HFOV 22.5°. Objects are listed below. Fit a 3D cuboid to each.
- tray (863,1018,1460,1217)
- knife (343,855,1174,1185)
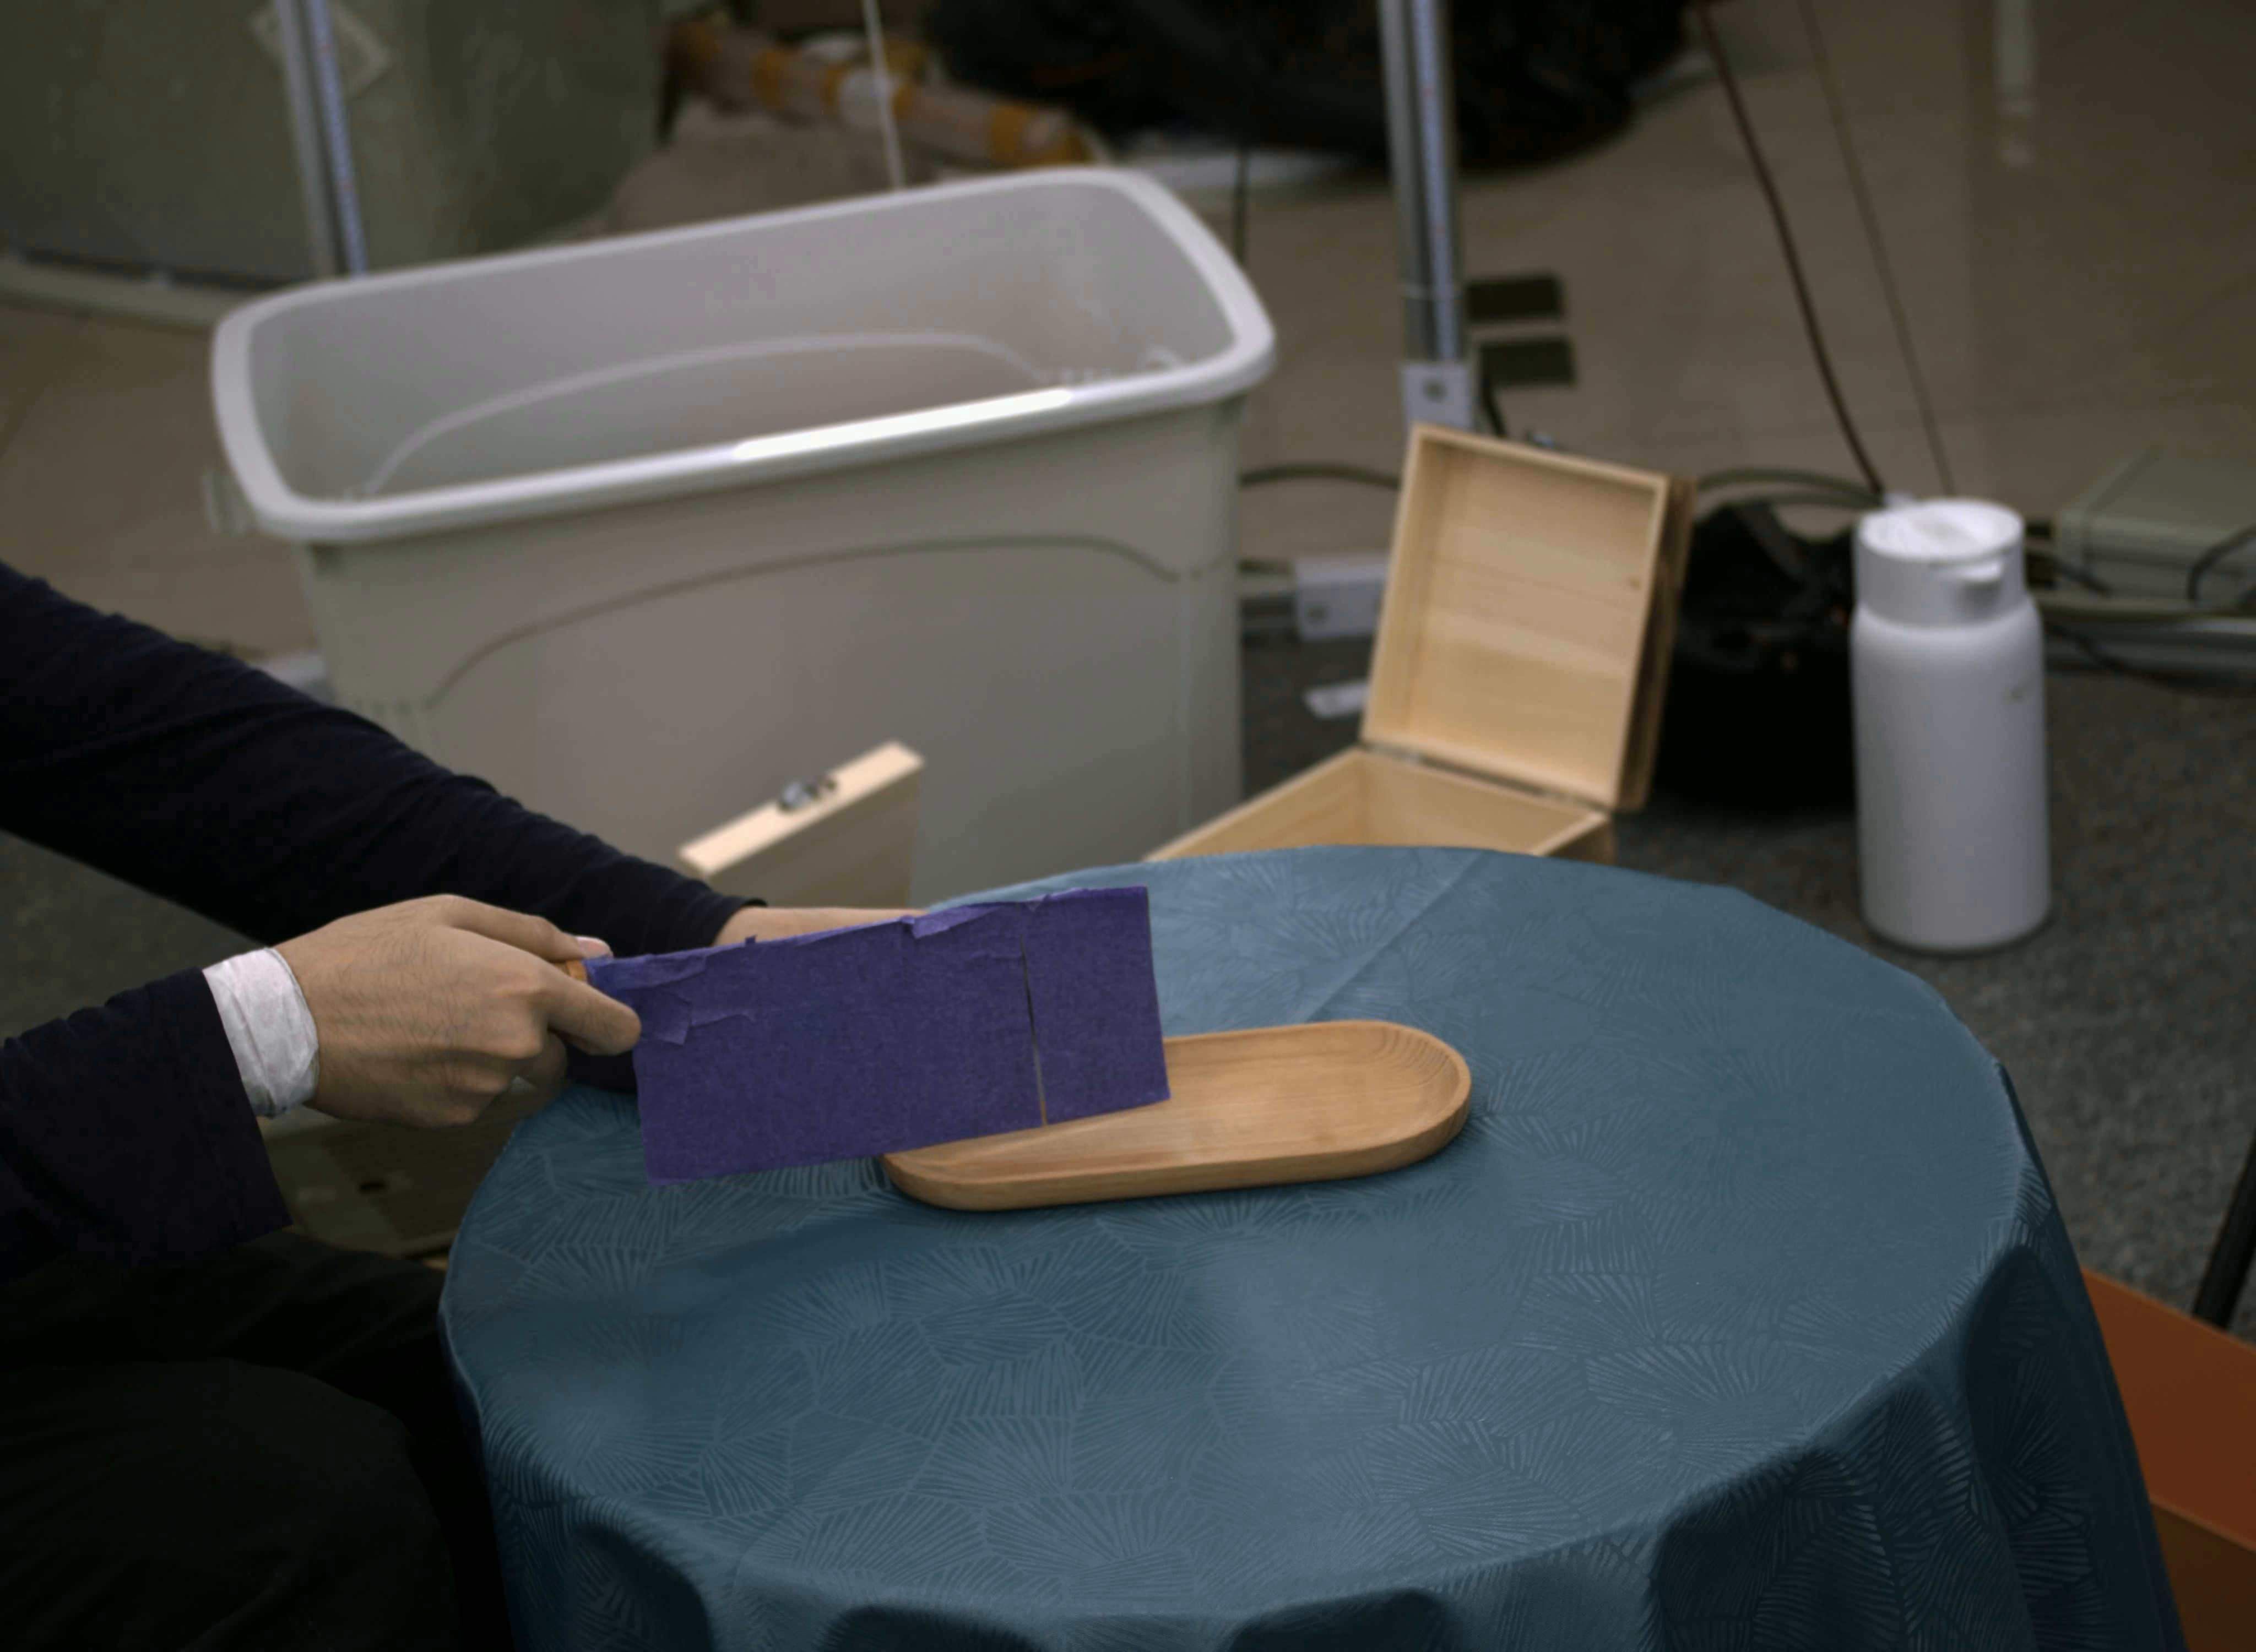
[{"bbox_3d":[0.013,0.113,2.182,0.231,0.020,0.100,-8,26,1],"label":"tray"},{"bbox_3d":[-0.134,0.085,2.135,0.314,0.105,0.032,-9,14,-12],"label":"knife"}]
